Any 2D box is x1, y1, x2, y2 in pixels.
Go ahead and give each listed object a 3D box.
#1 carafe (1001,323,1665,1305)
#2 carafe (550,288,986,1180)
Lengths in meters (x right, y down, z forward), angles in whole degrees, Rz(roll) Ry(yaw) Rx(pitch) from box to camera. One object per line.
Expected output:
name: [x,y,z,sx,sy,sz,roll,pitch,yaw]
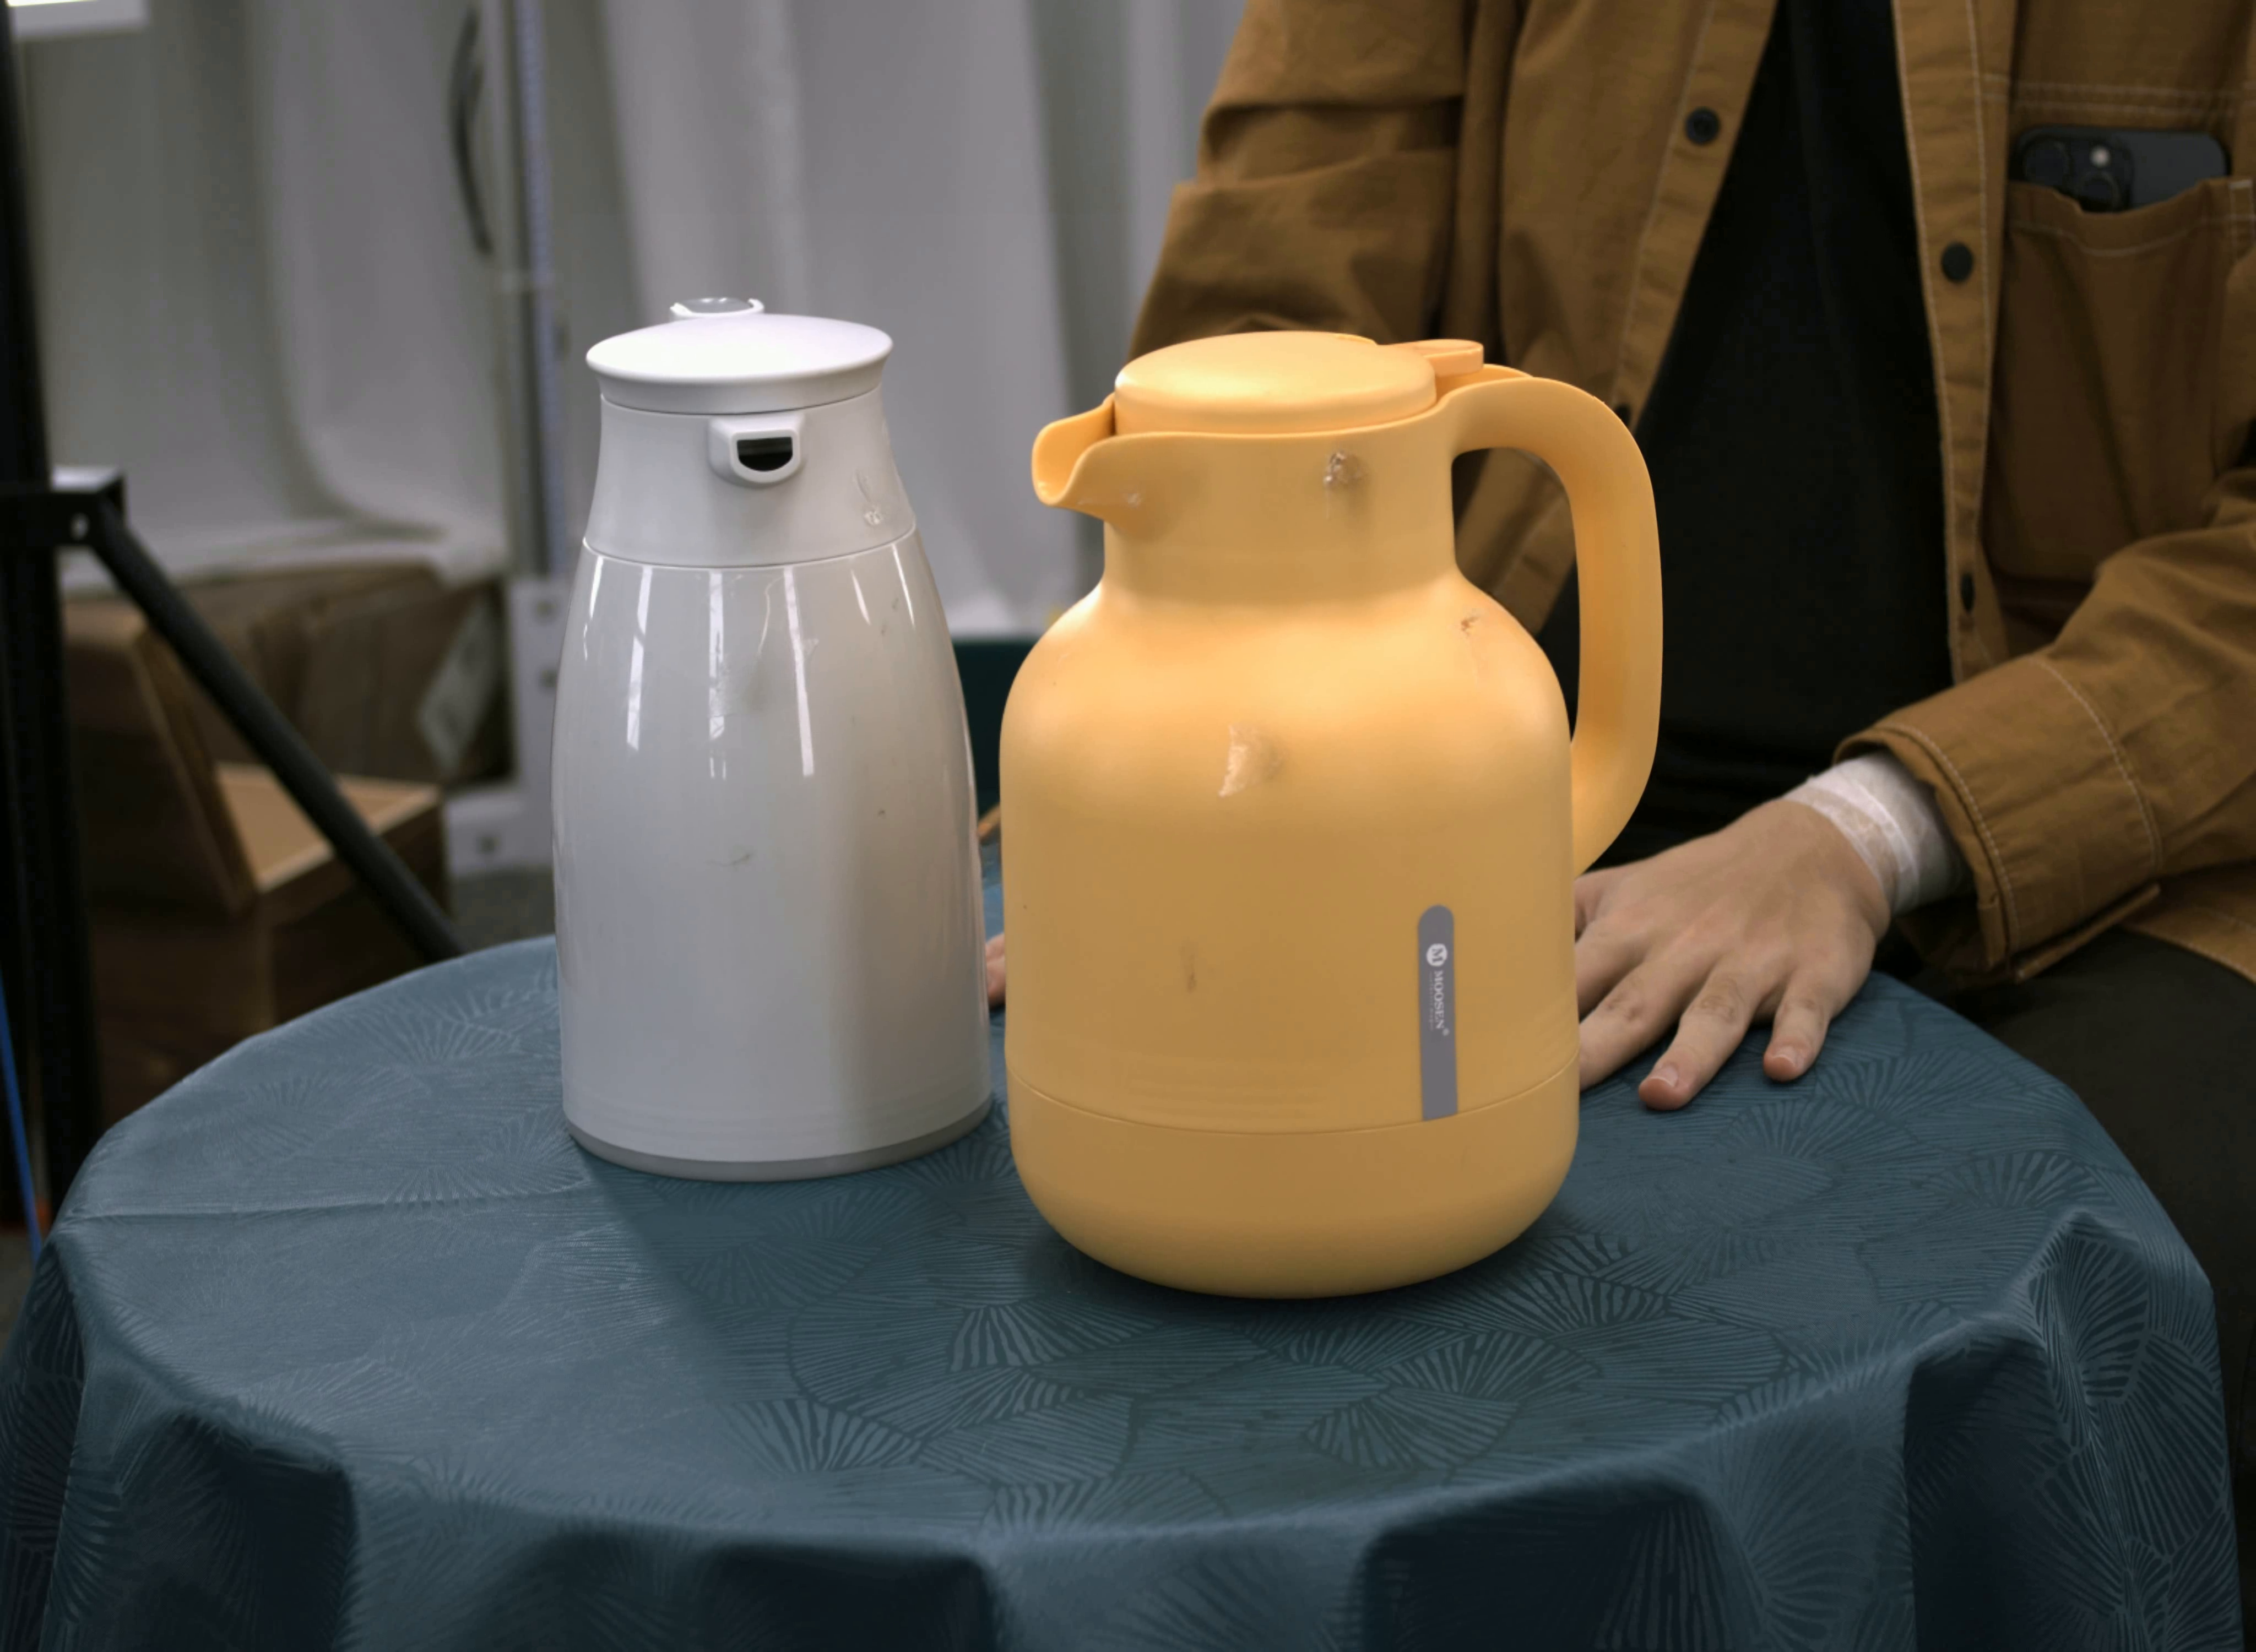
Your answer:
carafe: [0.063,-0.010,1.487,0.198,0.260,0.167,-11,19,-25]
carafe: [-0.116,-0.036,1.629,0.131,0.248,0.169,-4,15,-9]
